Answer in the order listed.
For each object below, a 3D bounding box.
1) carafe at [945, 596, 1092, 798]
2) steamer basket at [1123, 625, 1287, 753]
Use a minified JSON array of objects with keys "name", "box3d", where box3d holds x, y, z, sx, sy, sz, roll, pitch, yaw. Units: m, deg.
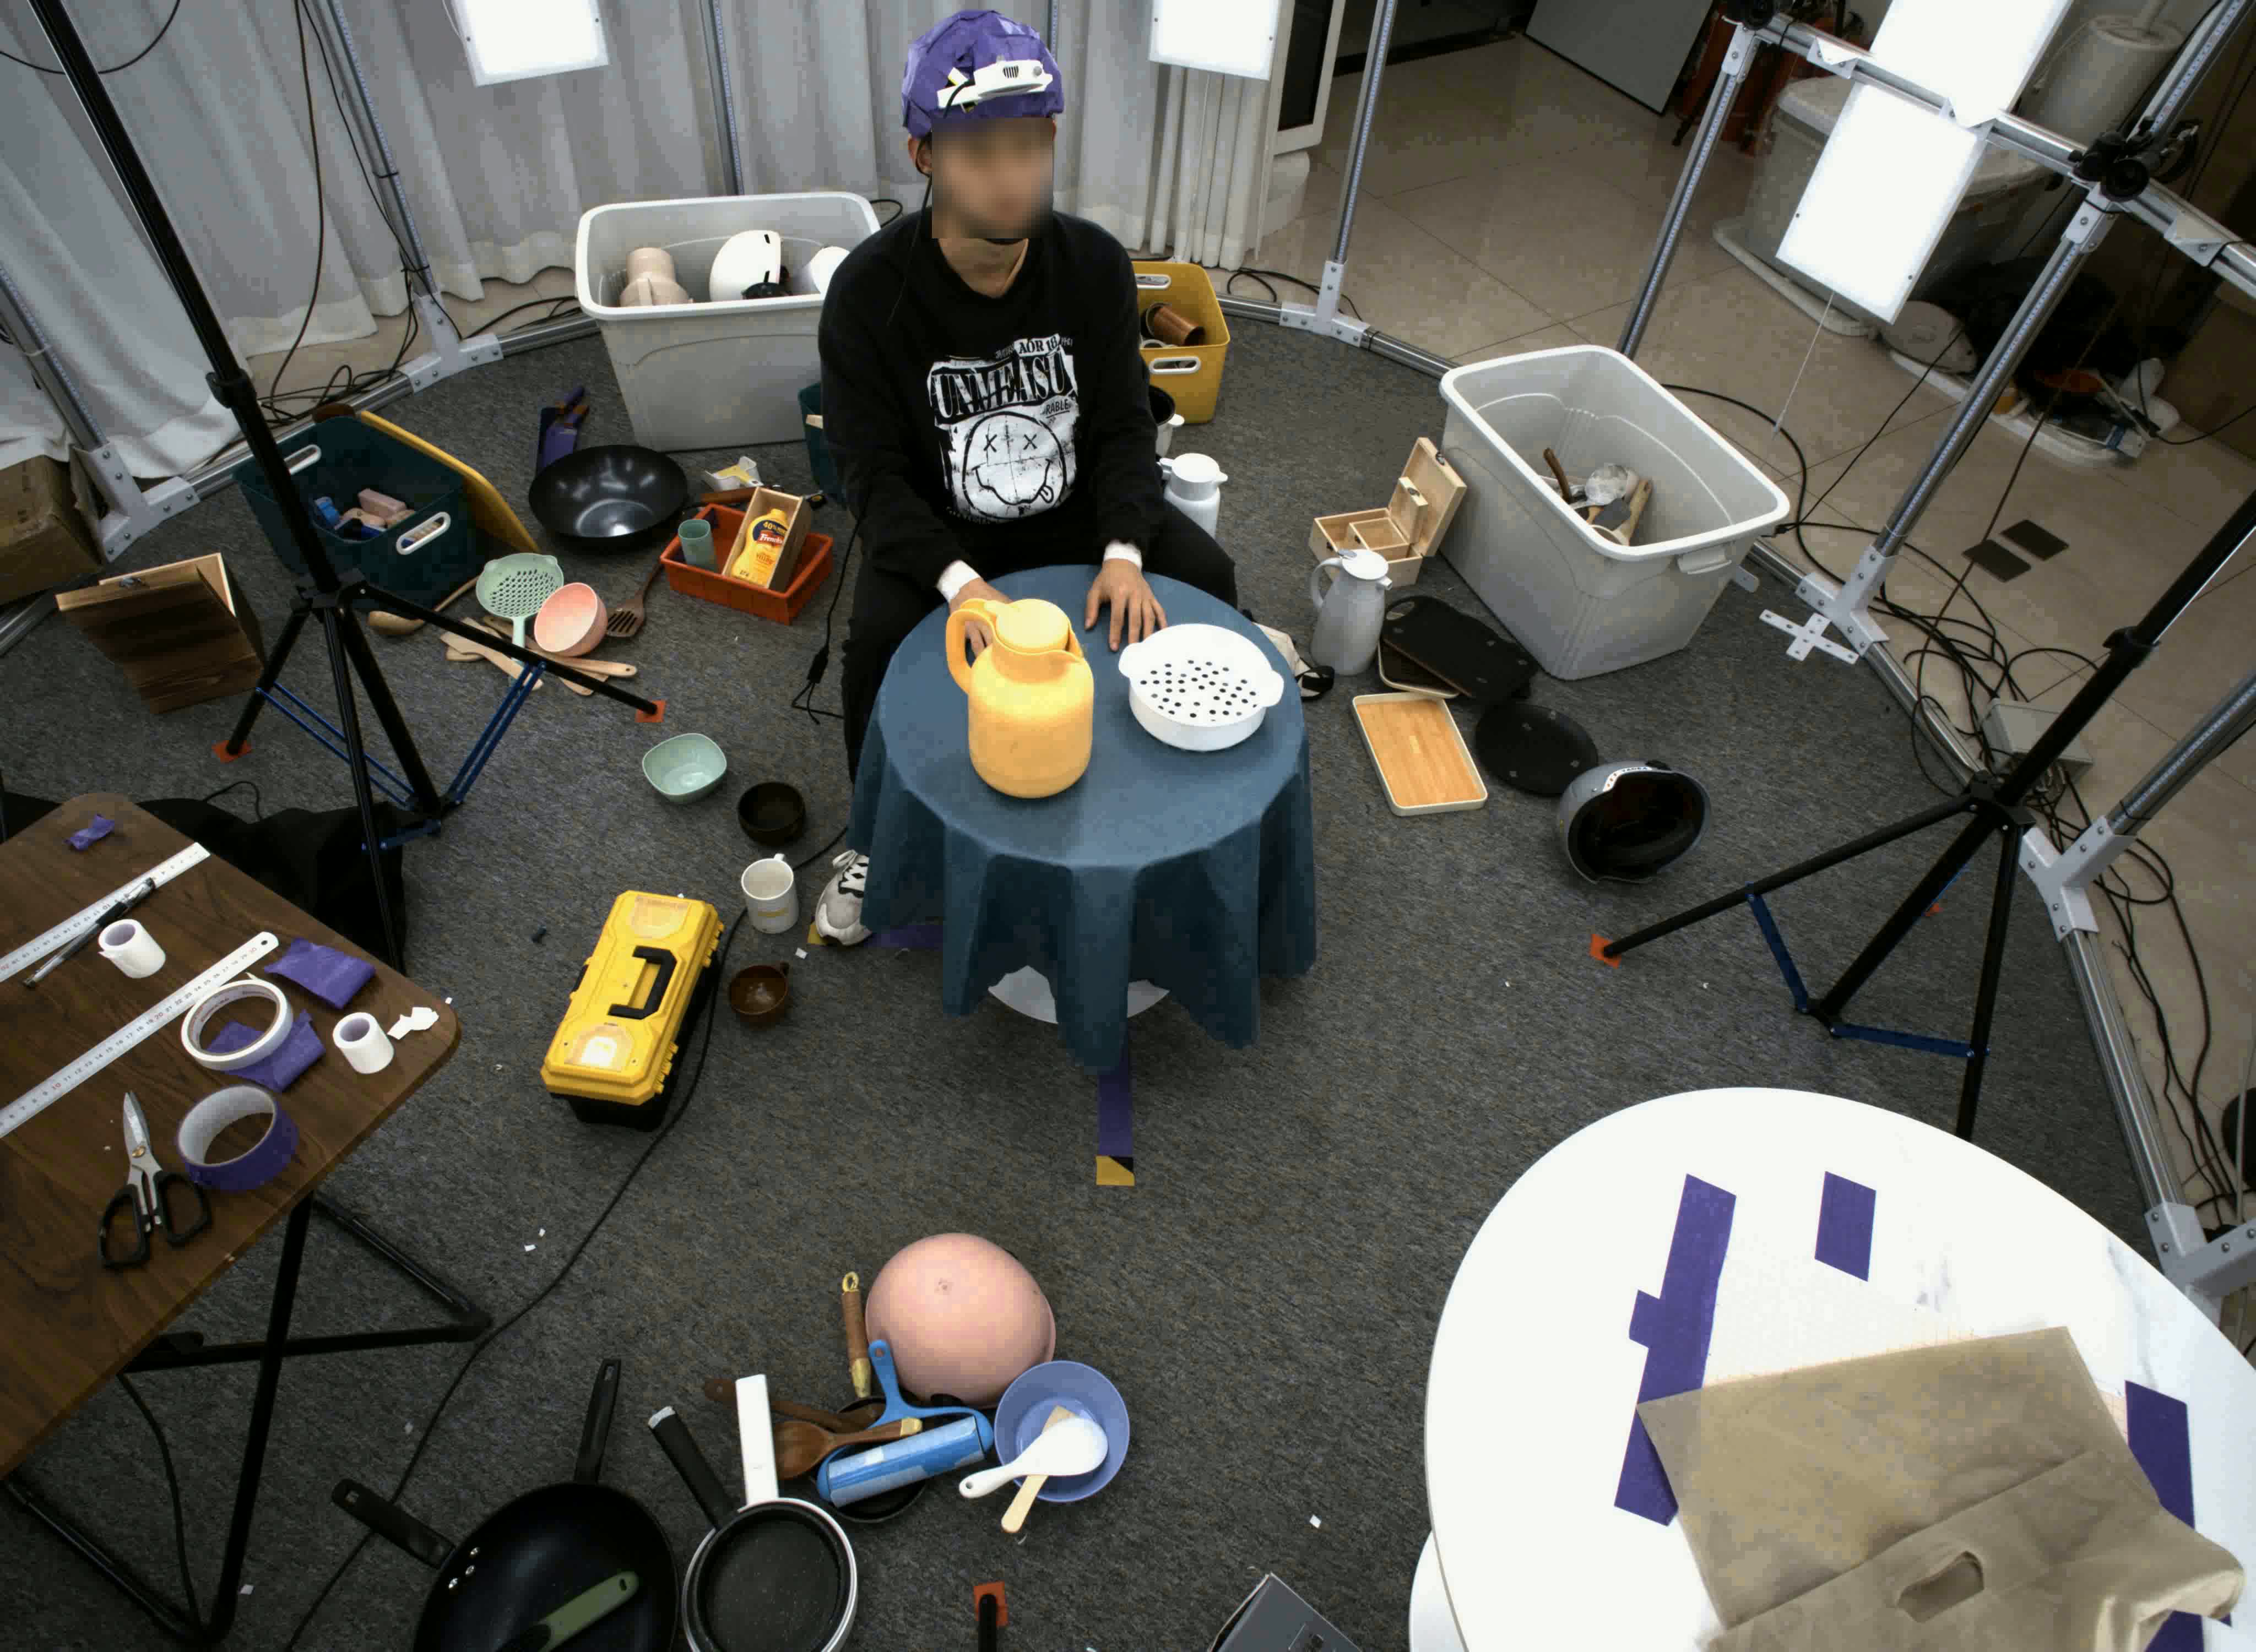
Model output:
[{"name":"carafe","box3d":[-0.143,-0.177,1.645,0.204,0.254,0.166,29,51,17]},{"name":"steamer basket","box3d":[0.104,-0.192,1.798,0.231,0.067,0.206,14,49,5]}]
